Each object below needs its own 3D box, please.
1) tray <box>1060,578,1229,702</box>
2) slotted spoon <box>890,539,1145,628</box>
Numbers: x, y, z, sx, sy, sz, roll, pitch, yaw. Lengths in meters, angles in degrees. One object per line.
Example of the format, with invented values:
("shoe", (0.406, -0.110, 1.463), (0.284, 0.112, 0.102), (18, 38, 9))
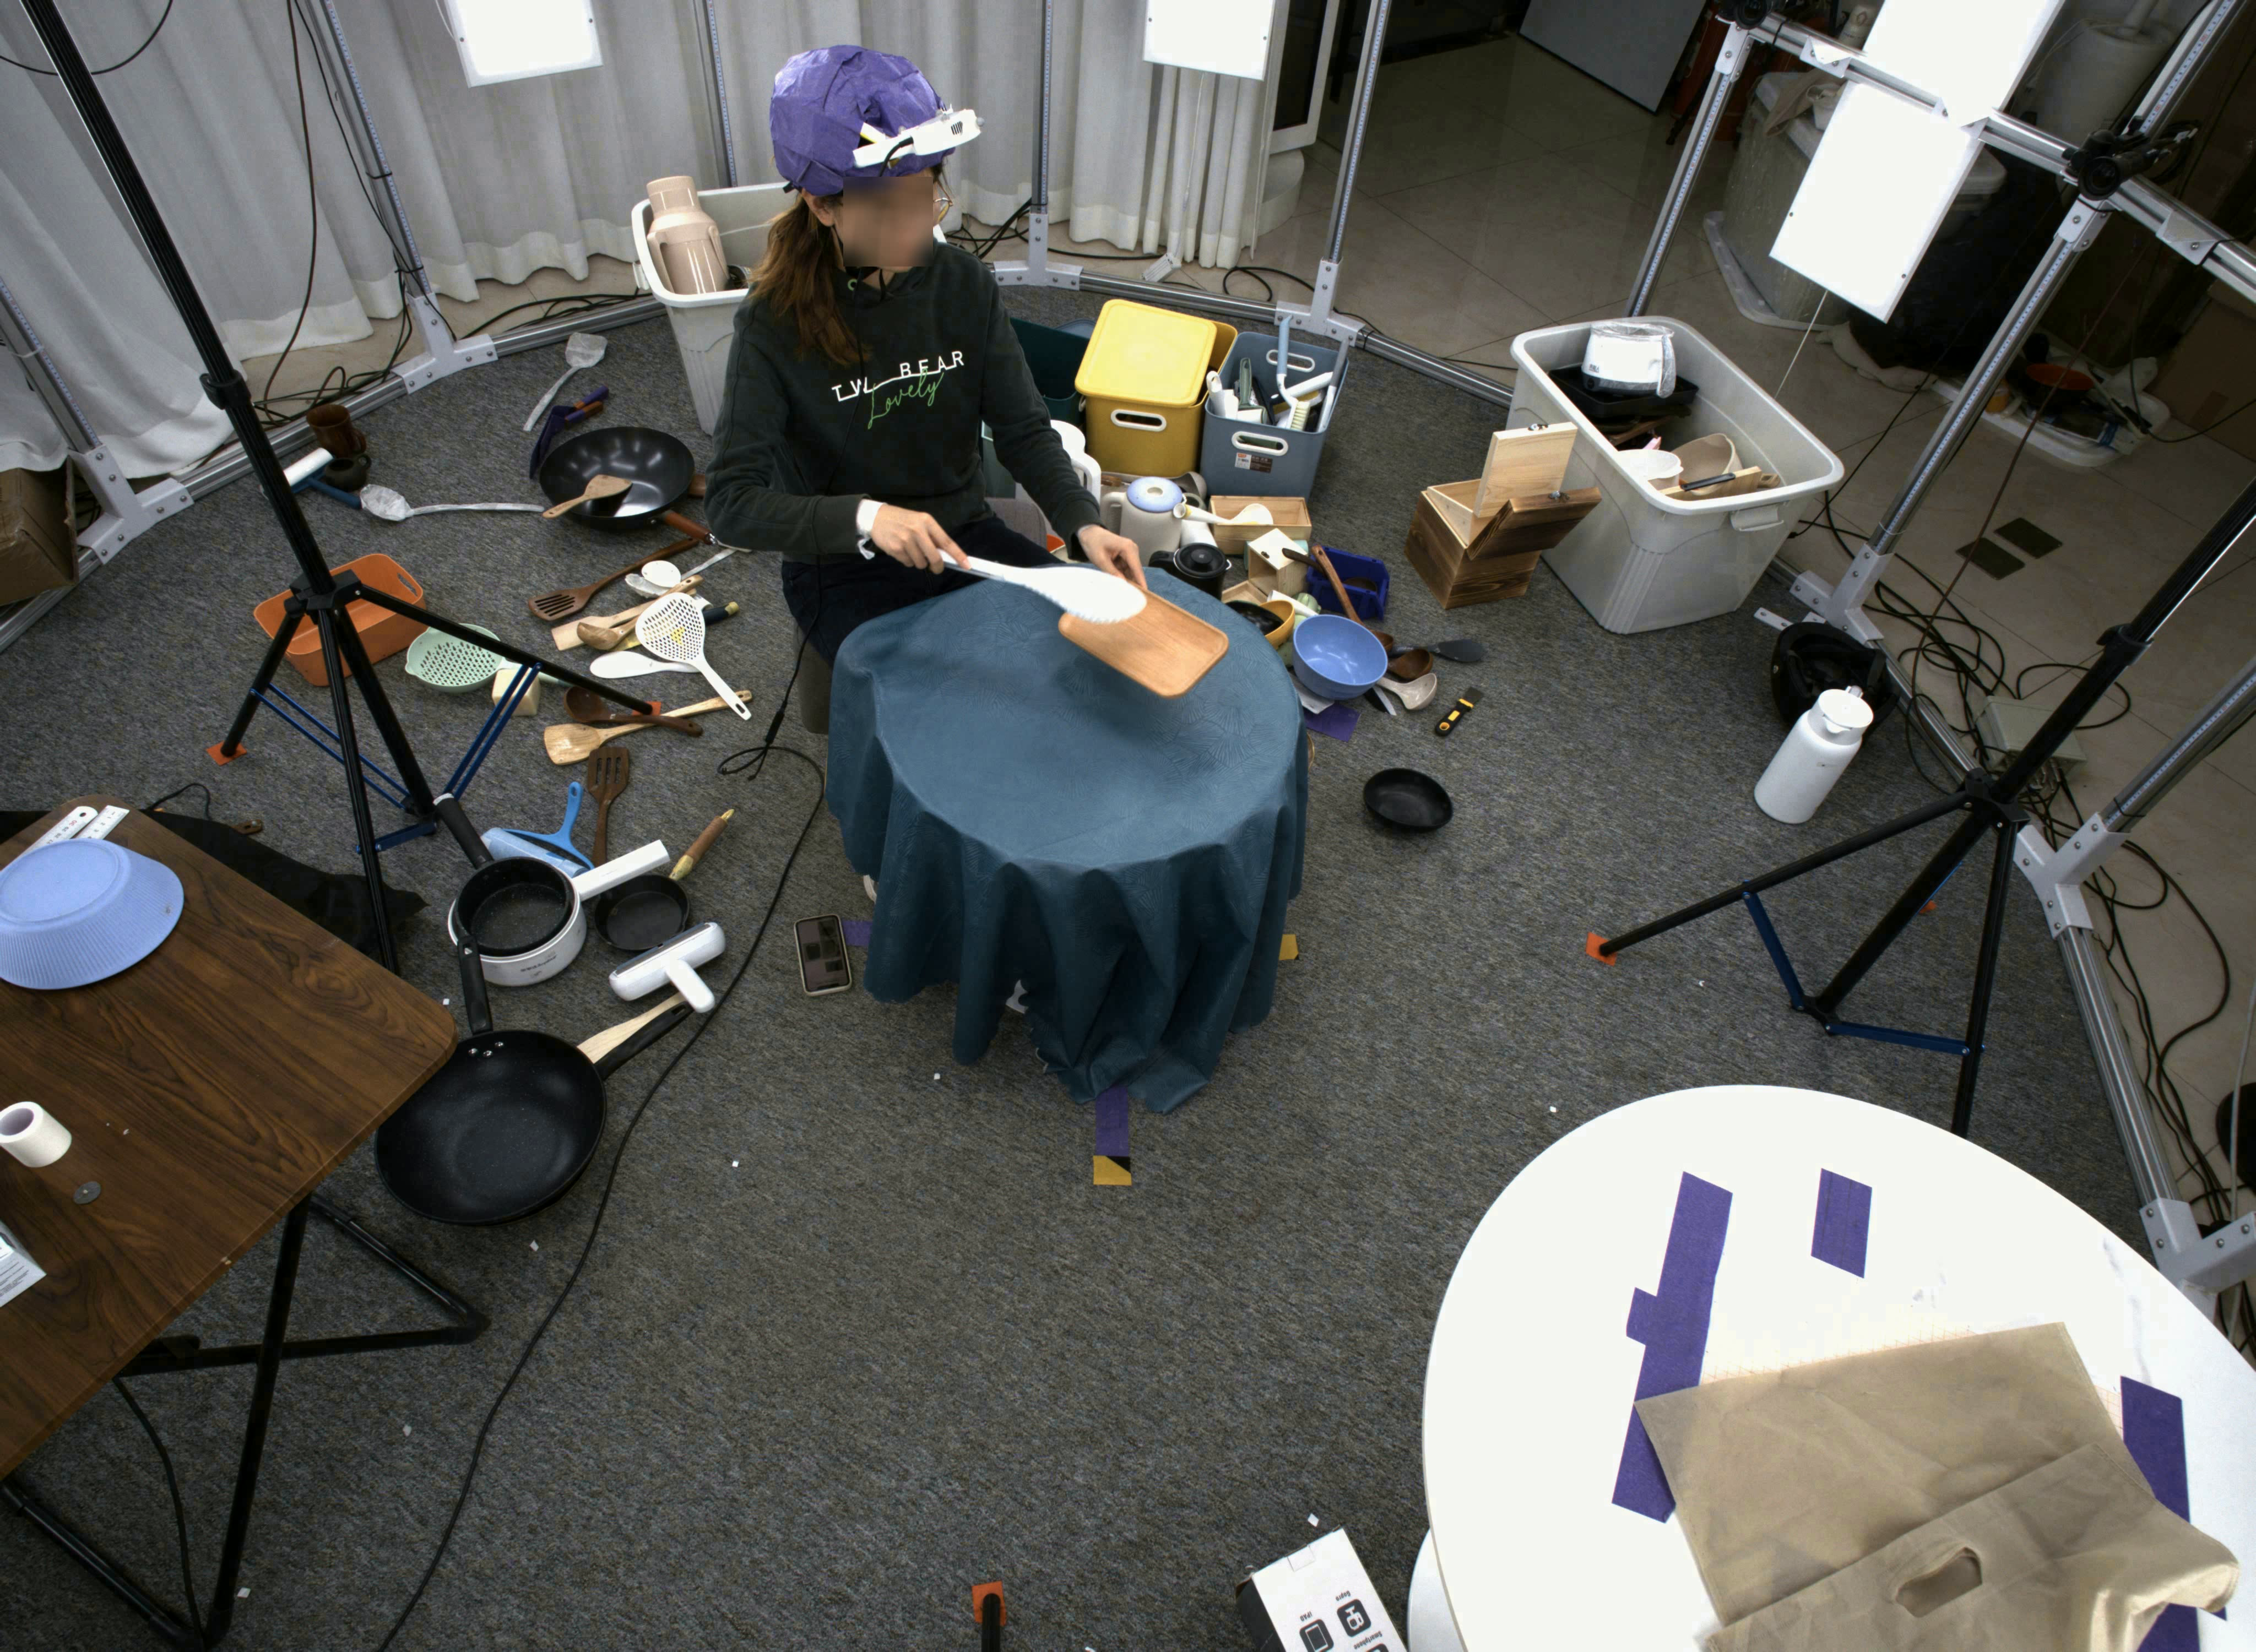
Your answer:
("tray", (0.021, -0.261, 1.788), (0.131, 0.022, 0.255), (-43, 52, -16))
("slotted spoon", (-0.149, -0.327, 1.709), (0.351, 0.134, 0.046), (20, 78, 8))
